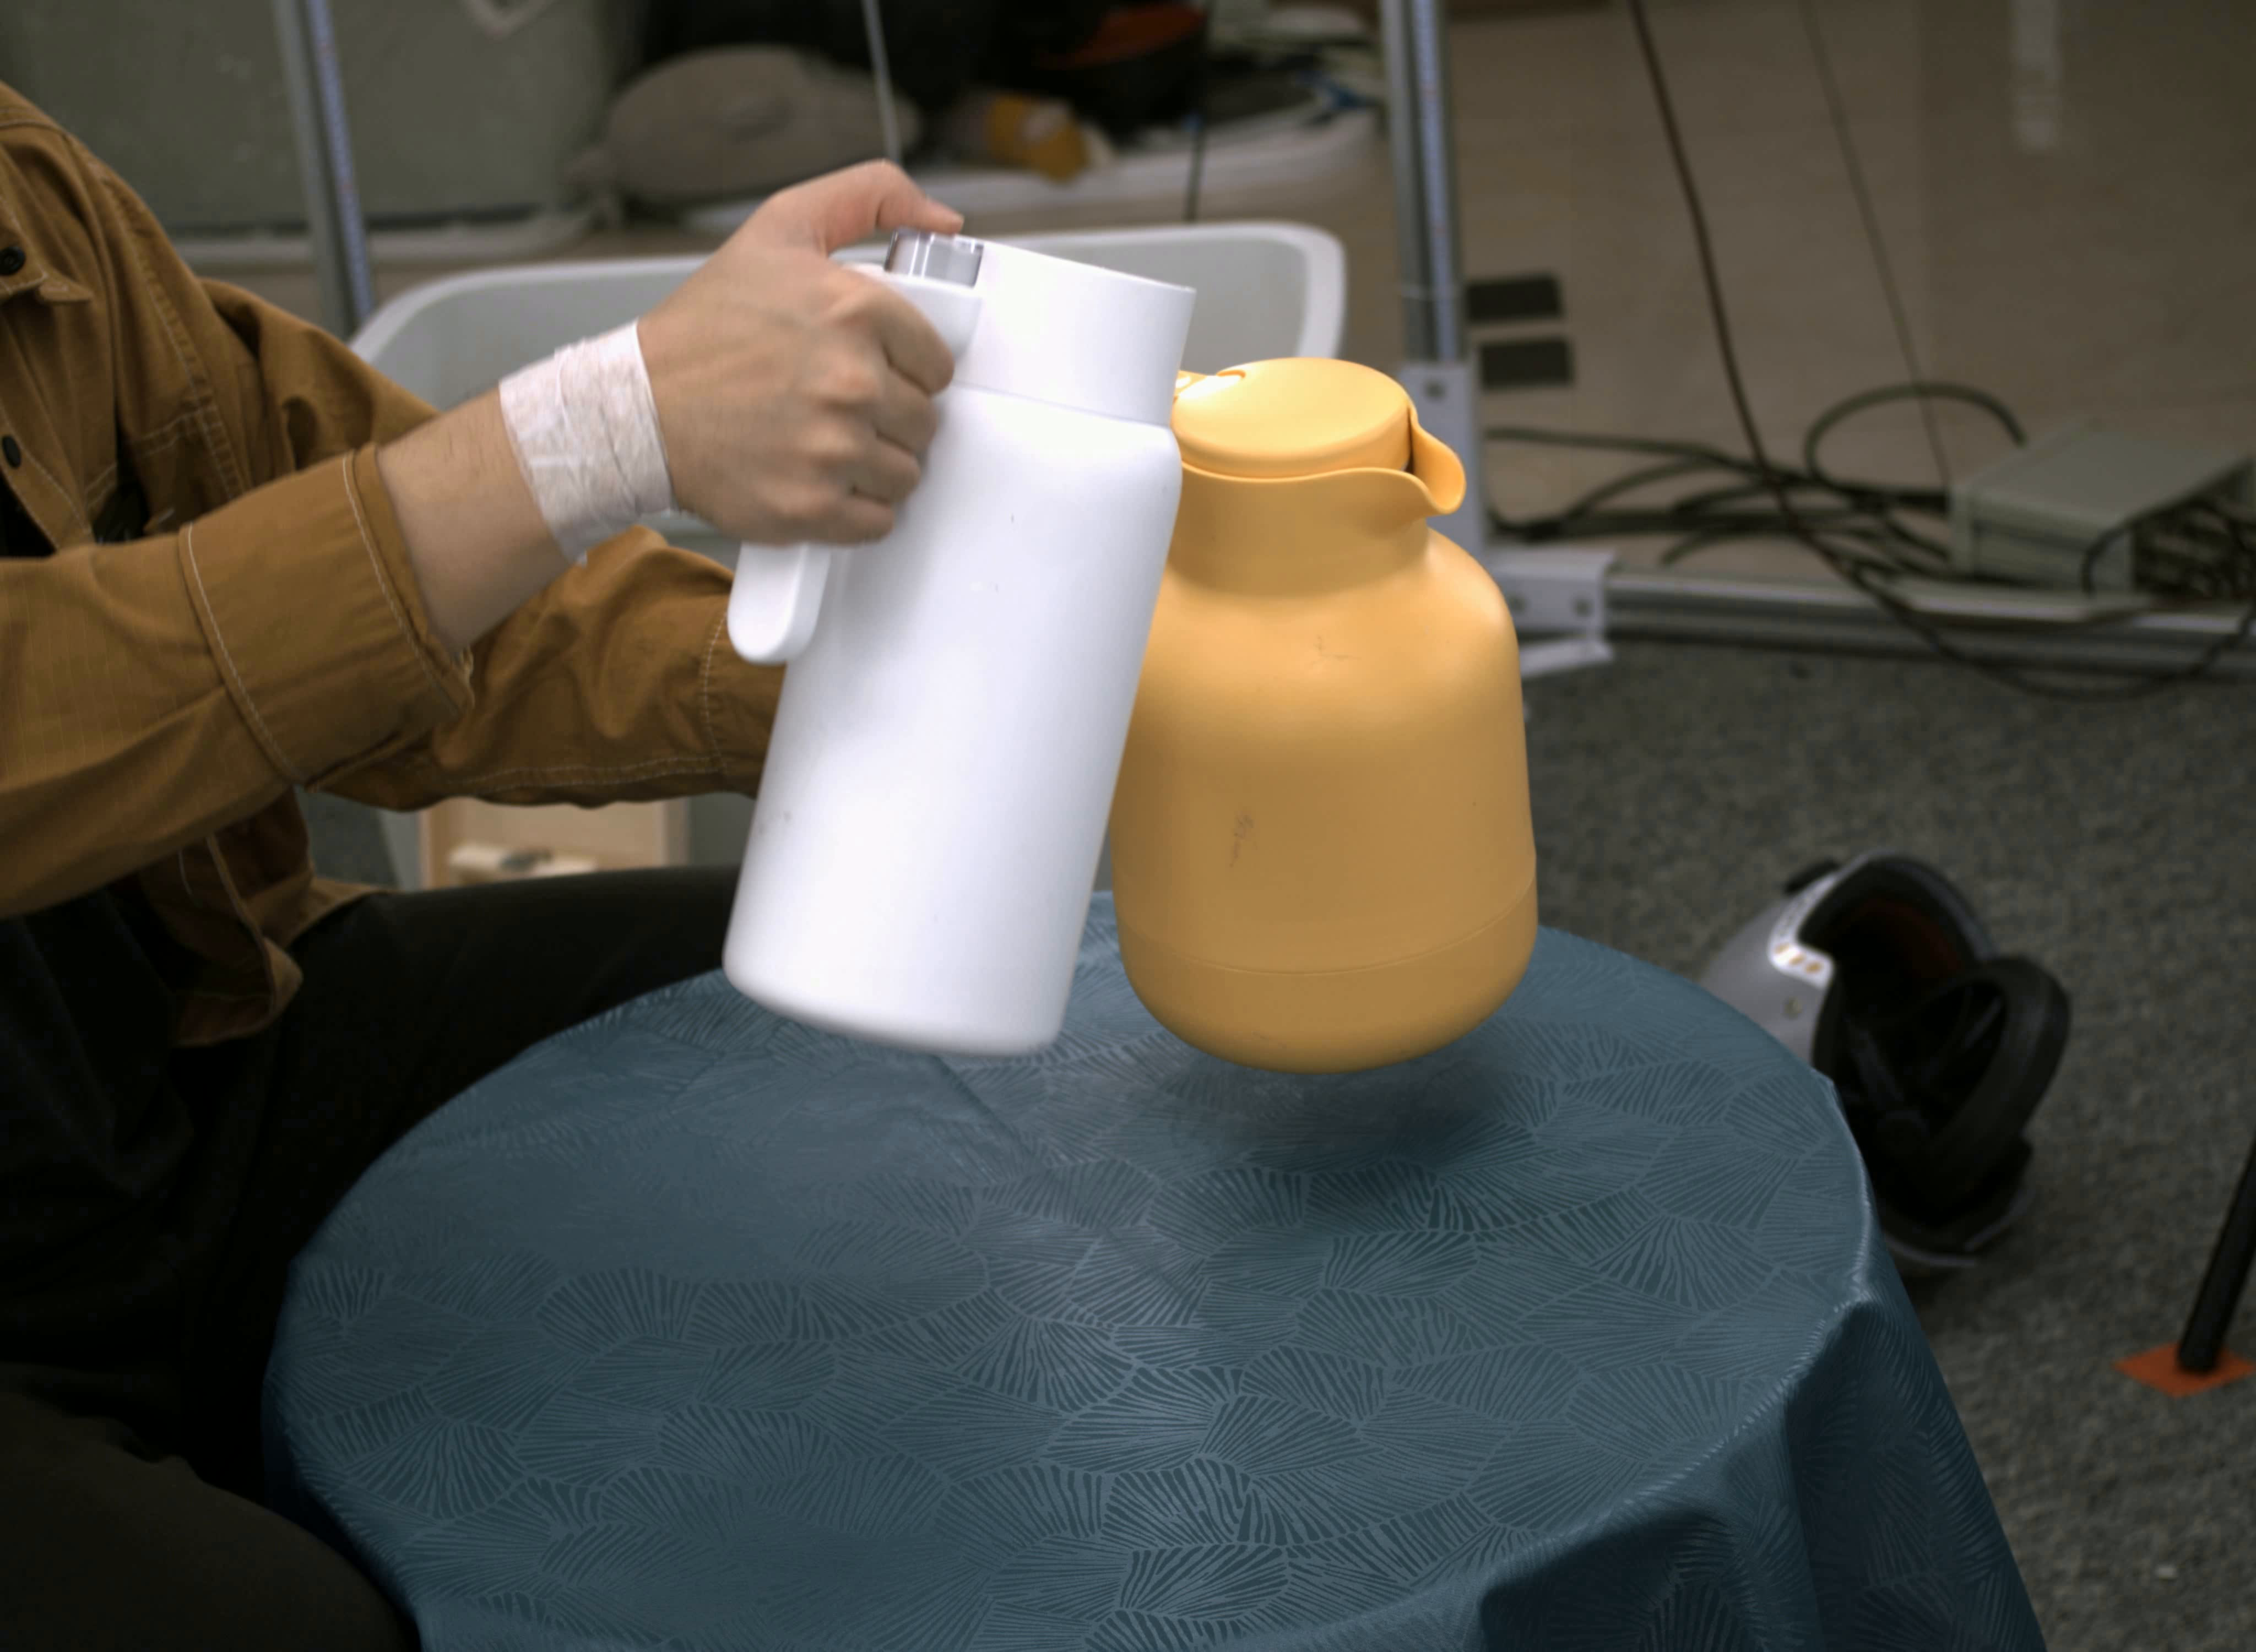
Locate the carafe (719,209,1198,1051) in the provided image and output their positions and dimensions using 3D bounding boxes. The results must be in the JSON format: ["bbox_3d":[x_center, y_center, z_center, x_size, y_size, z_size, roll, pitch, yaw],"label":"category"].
[{"bbox_3d":[-0.064,-0.066,1.889,0.123,0.270,0.173,21,10,37],"label":"carafe"}]

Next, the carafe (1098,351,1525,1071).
[{"bbox_3d":[0.053,-0.054,2.146,0.201,0.265,0.162,21,36,36],"label":"carafe"}]
